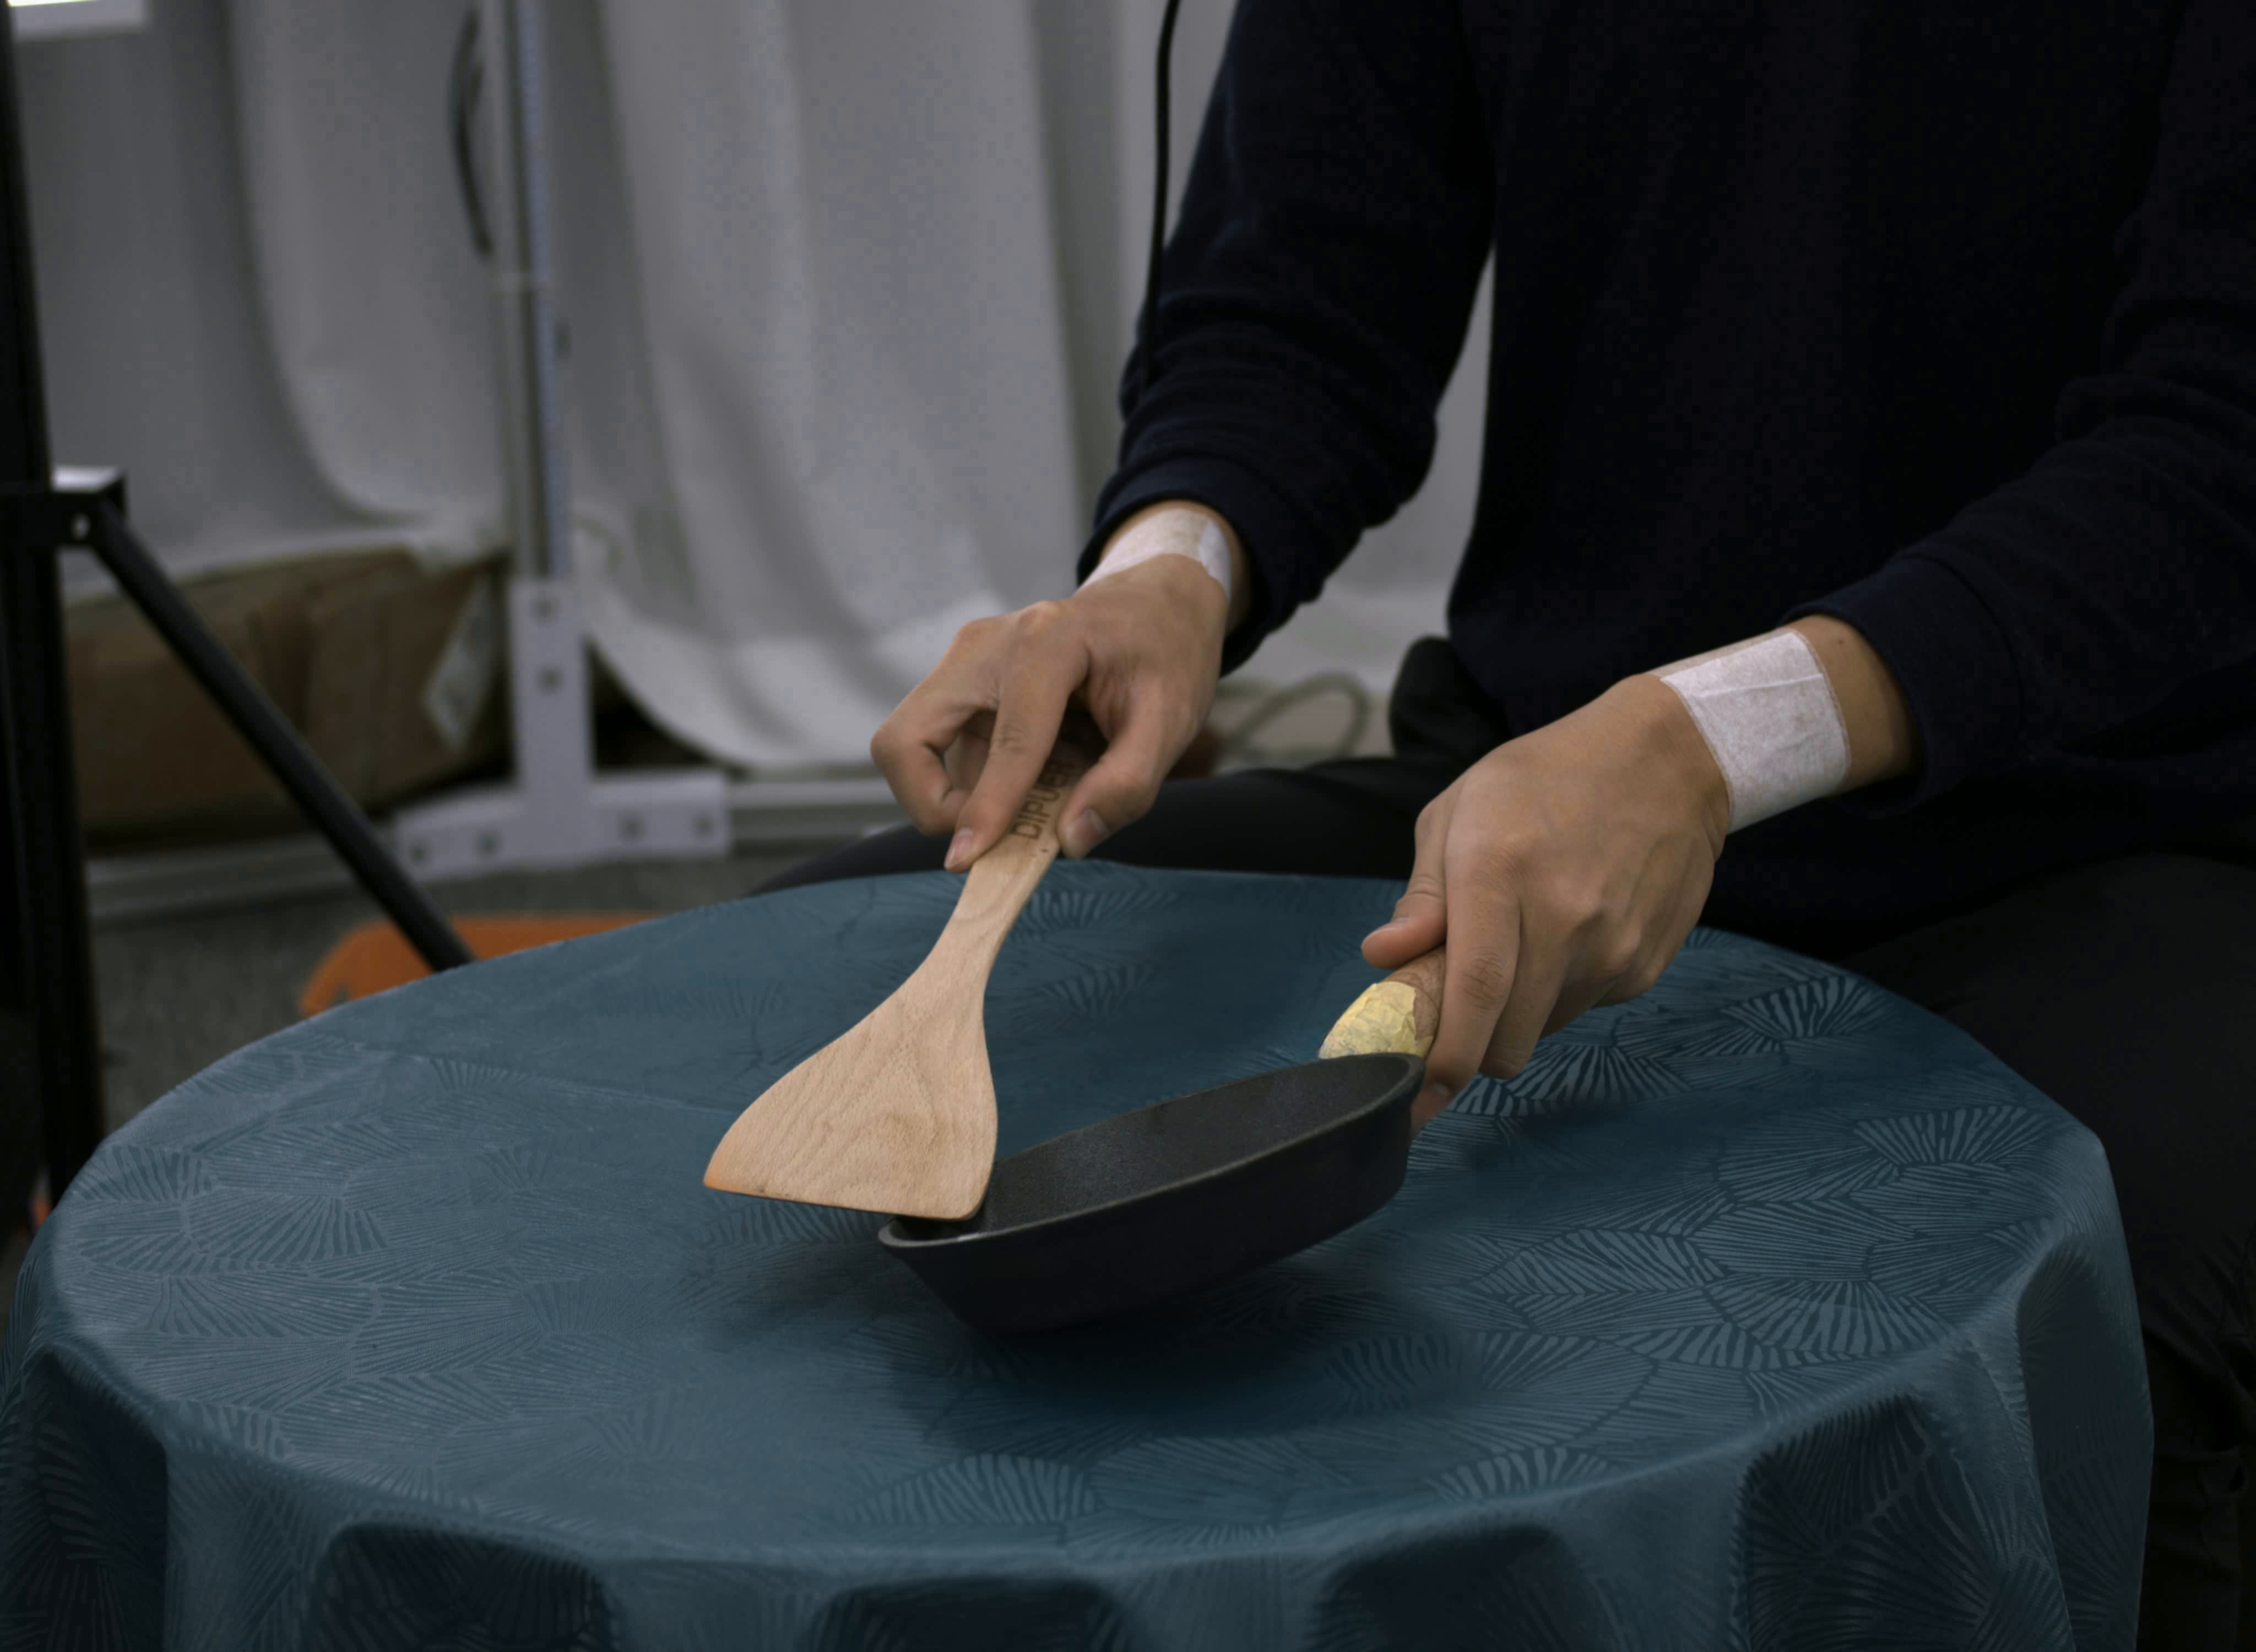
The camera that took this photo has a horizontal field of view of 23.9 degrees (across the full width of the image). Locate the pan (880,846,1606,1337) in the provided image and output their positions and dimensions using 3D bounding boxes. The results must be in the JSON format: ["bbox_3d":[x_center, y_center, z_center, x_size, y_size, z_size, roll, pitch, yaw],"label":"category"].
[{"bbox_3d":[0.059,0.073,1.512,0.172,0.049,0.318,-13,8,40],"label":"pan"}]

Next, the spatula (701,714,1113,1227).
[{"bbox_3d":[-0.048,0.038,1.604,0.080,0.016,0.327,11,30,8],"label":"spatula"}]
